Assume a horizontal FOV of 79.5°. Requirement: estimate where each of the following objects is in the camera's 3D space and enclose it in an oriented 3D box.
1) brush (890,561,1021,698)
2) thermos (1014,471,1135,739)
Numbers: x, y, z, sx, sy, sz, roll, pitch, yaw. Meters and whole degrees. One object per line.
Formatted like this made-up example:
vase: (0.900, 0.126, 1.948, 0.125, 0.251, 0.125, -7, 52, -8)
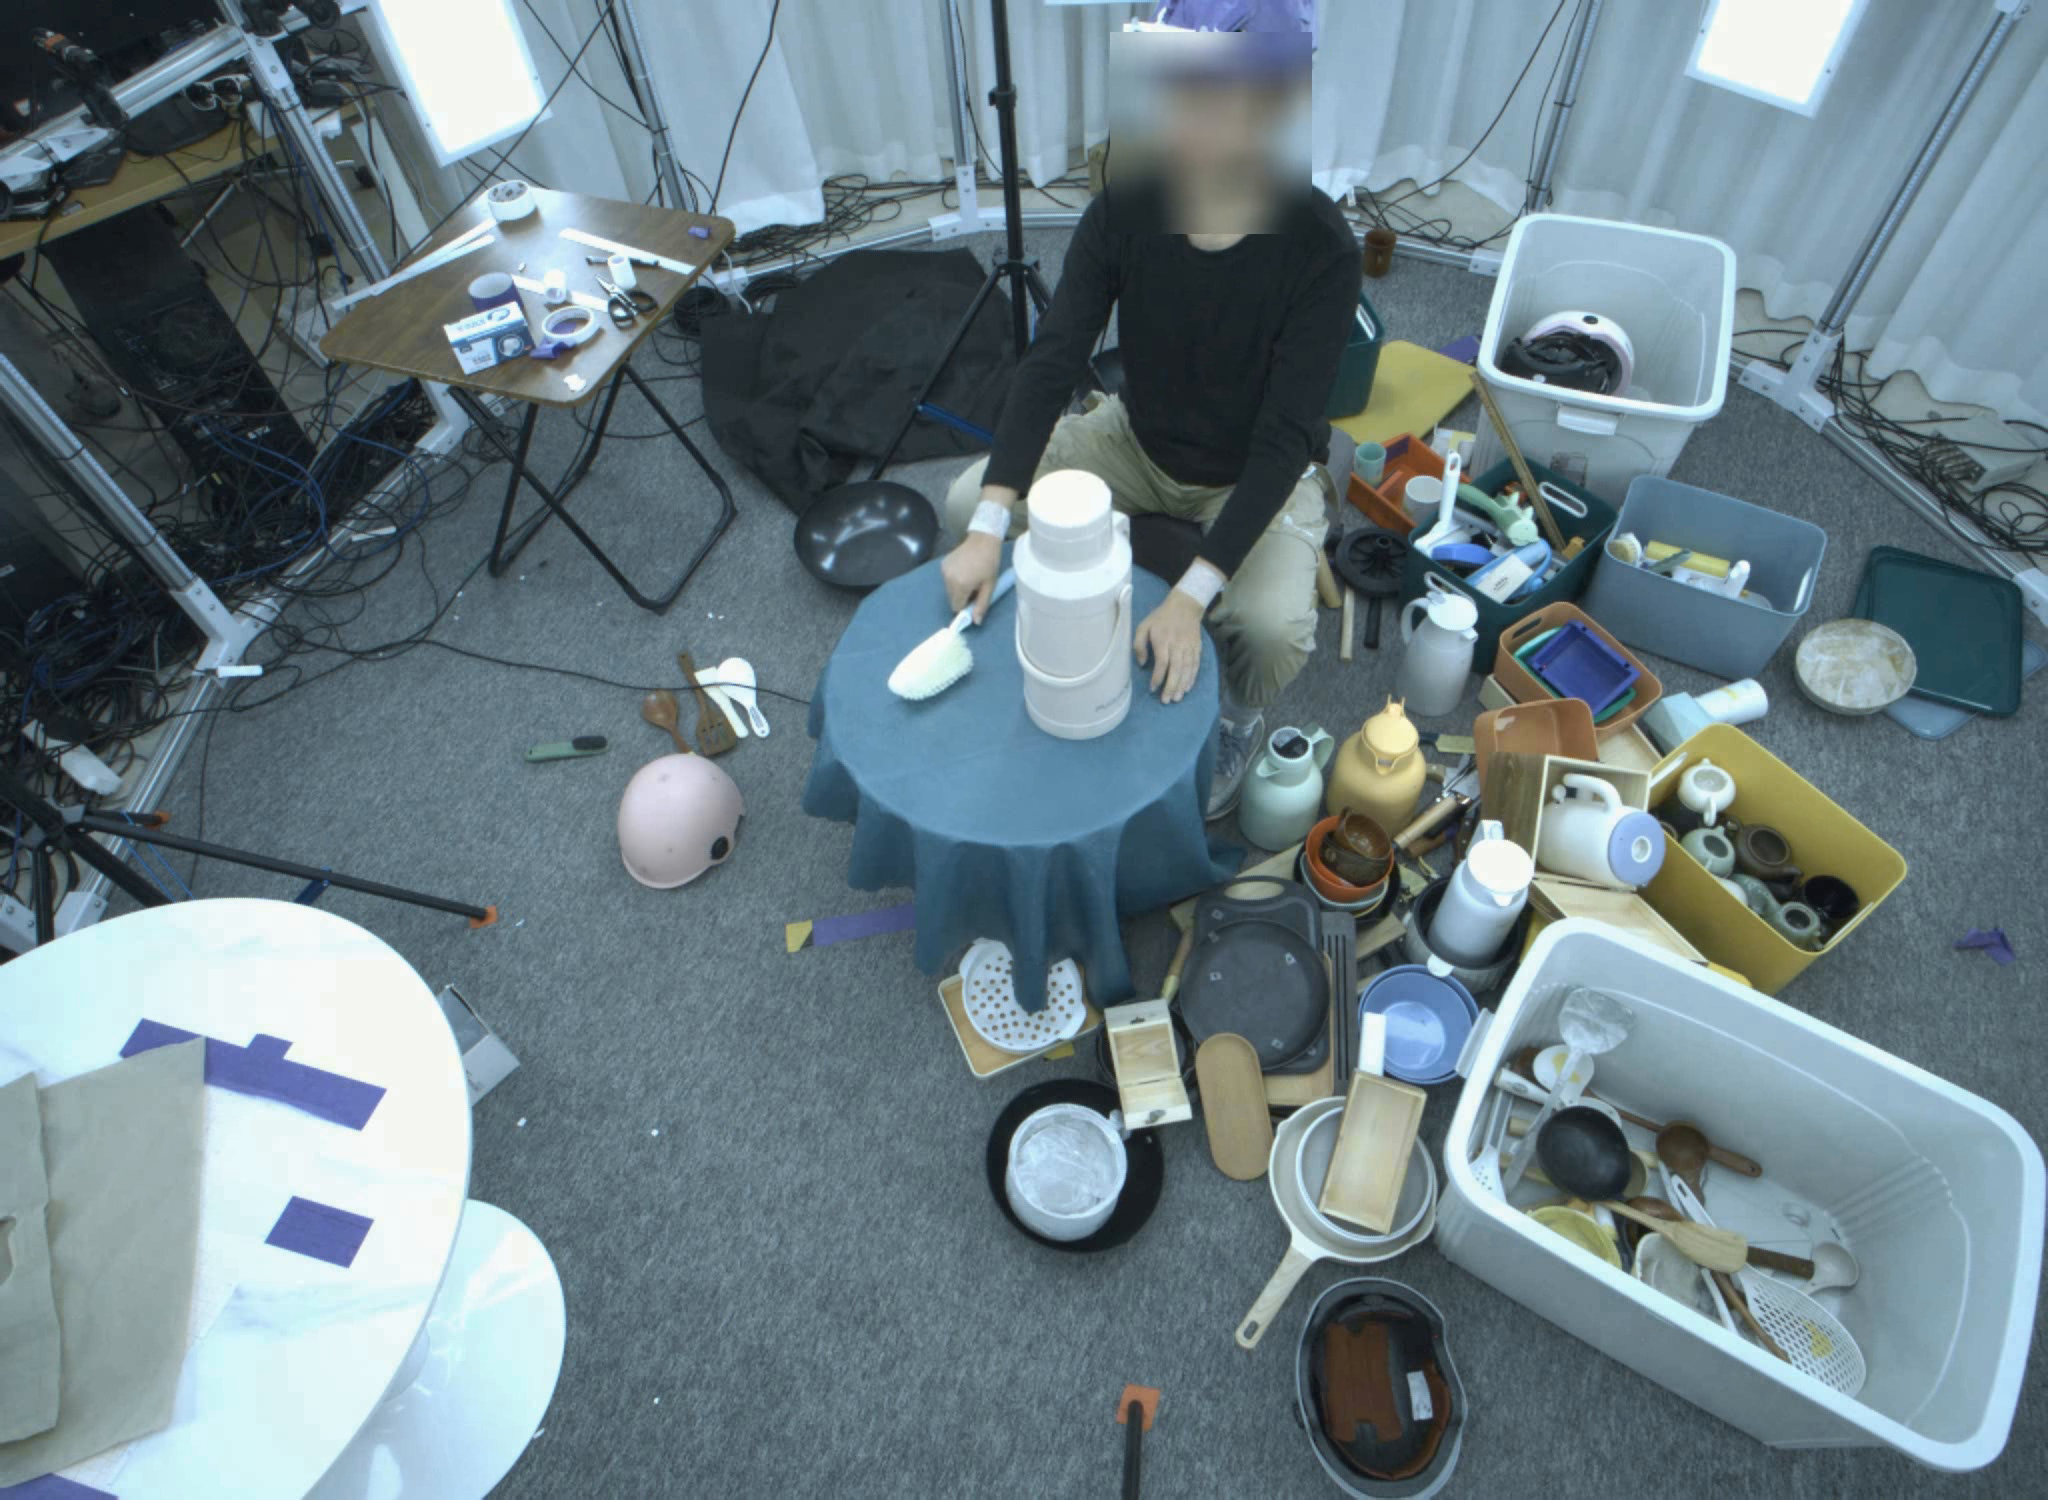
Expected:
brush: (-0.079, -0.192, 1.883, 0.084, 0.083, 0.327, 38, 61, 11)
thermos: (0.080, -0.203, 1.684, 0.172, 0.411, 0.208, 28, 61, 23)
